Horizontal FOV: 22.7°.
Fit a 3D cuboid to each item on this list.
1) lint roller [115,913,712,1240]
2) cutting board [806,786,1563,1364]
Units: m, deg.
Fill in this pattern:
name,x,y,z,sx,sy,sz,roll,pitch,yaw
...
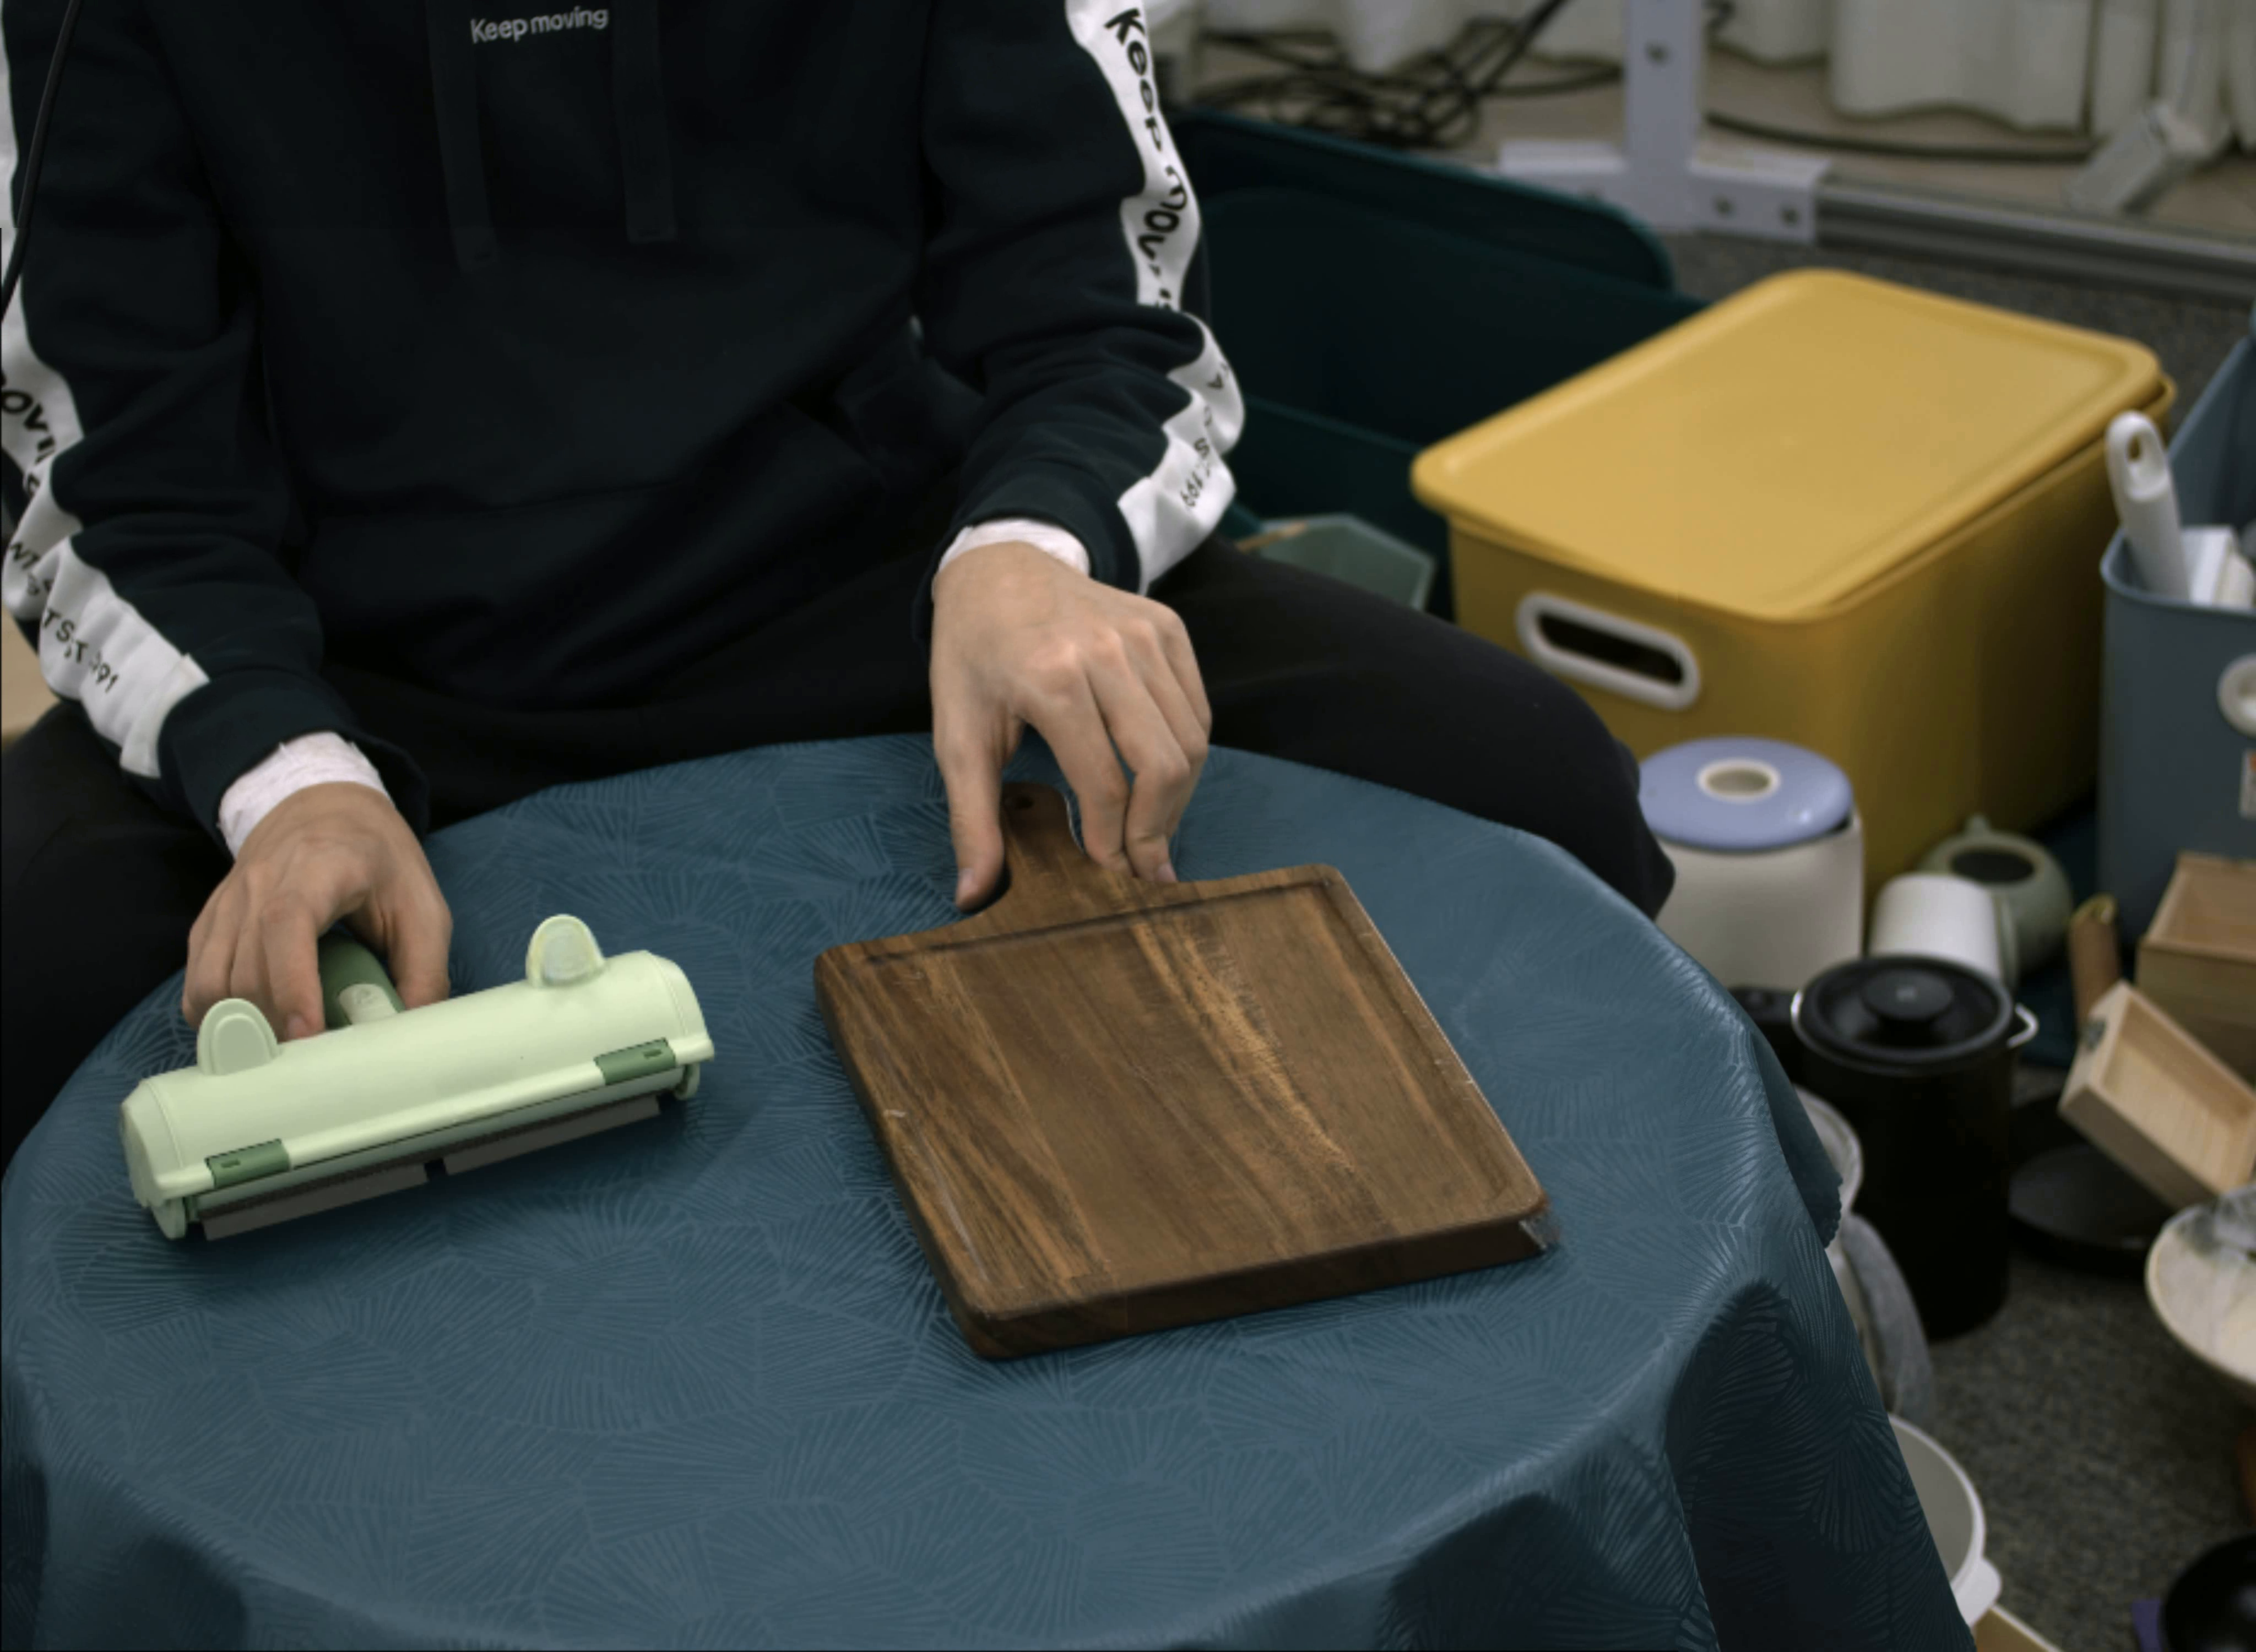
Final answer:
name,x,y,z,sx,sy,sz,roll,pitch,yaw
lint roller,-0.262,0.058,1.925,0.199,0.081,0.185,-14,34,-21
cutting board,0.000,0.070,1.937,0.201,0.023,0.356,-9,28,-13
